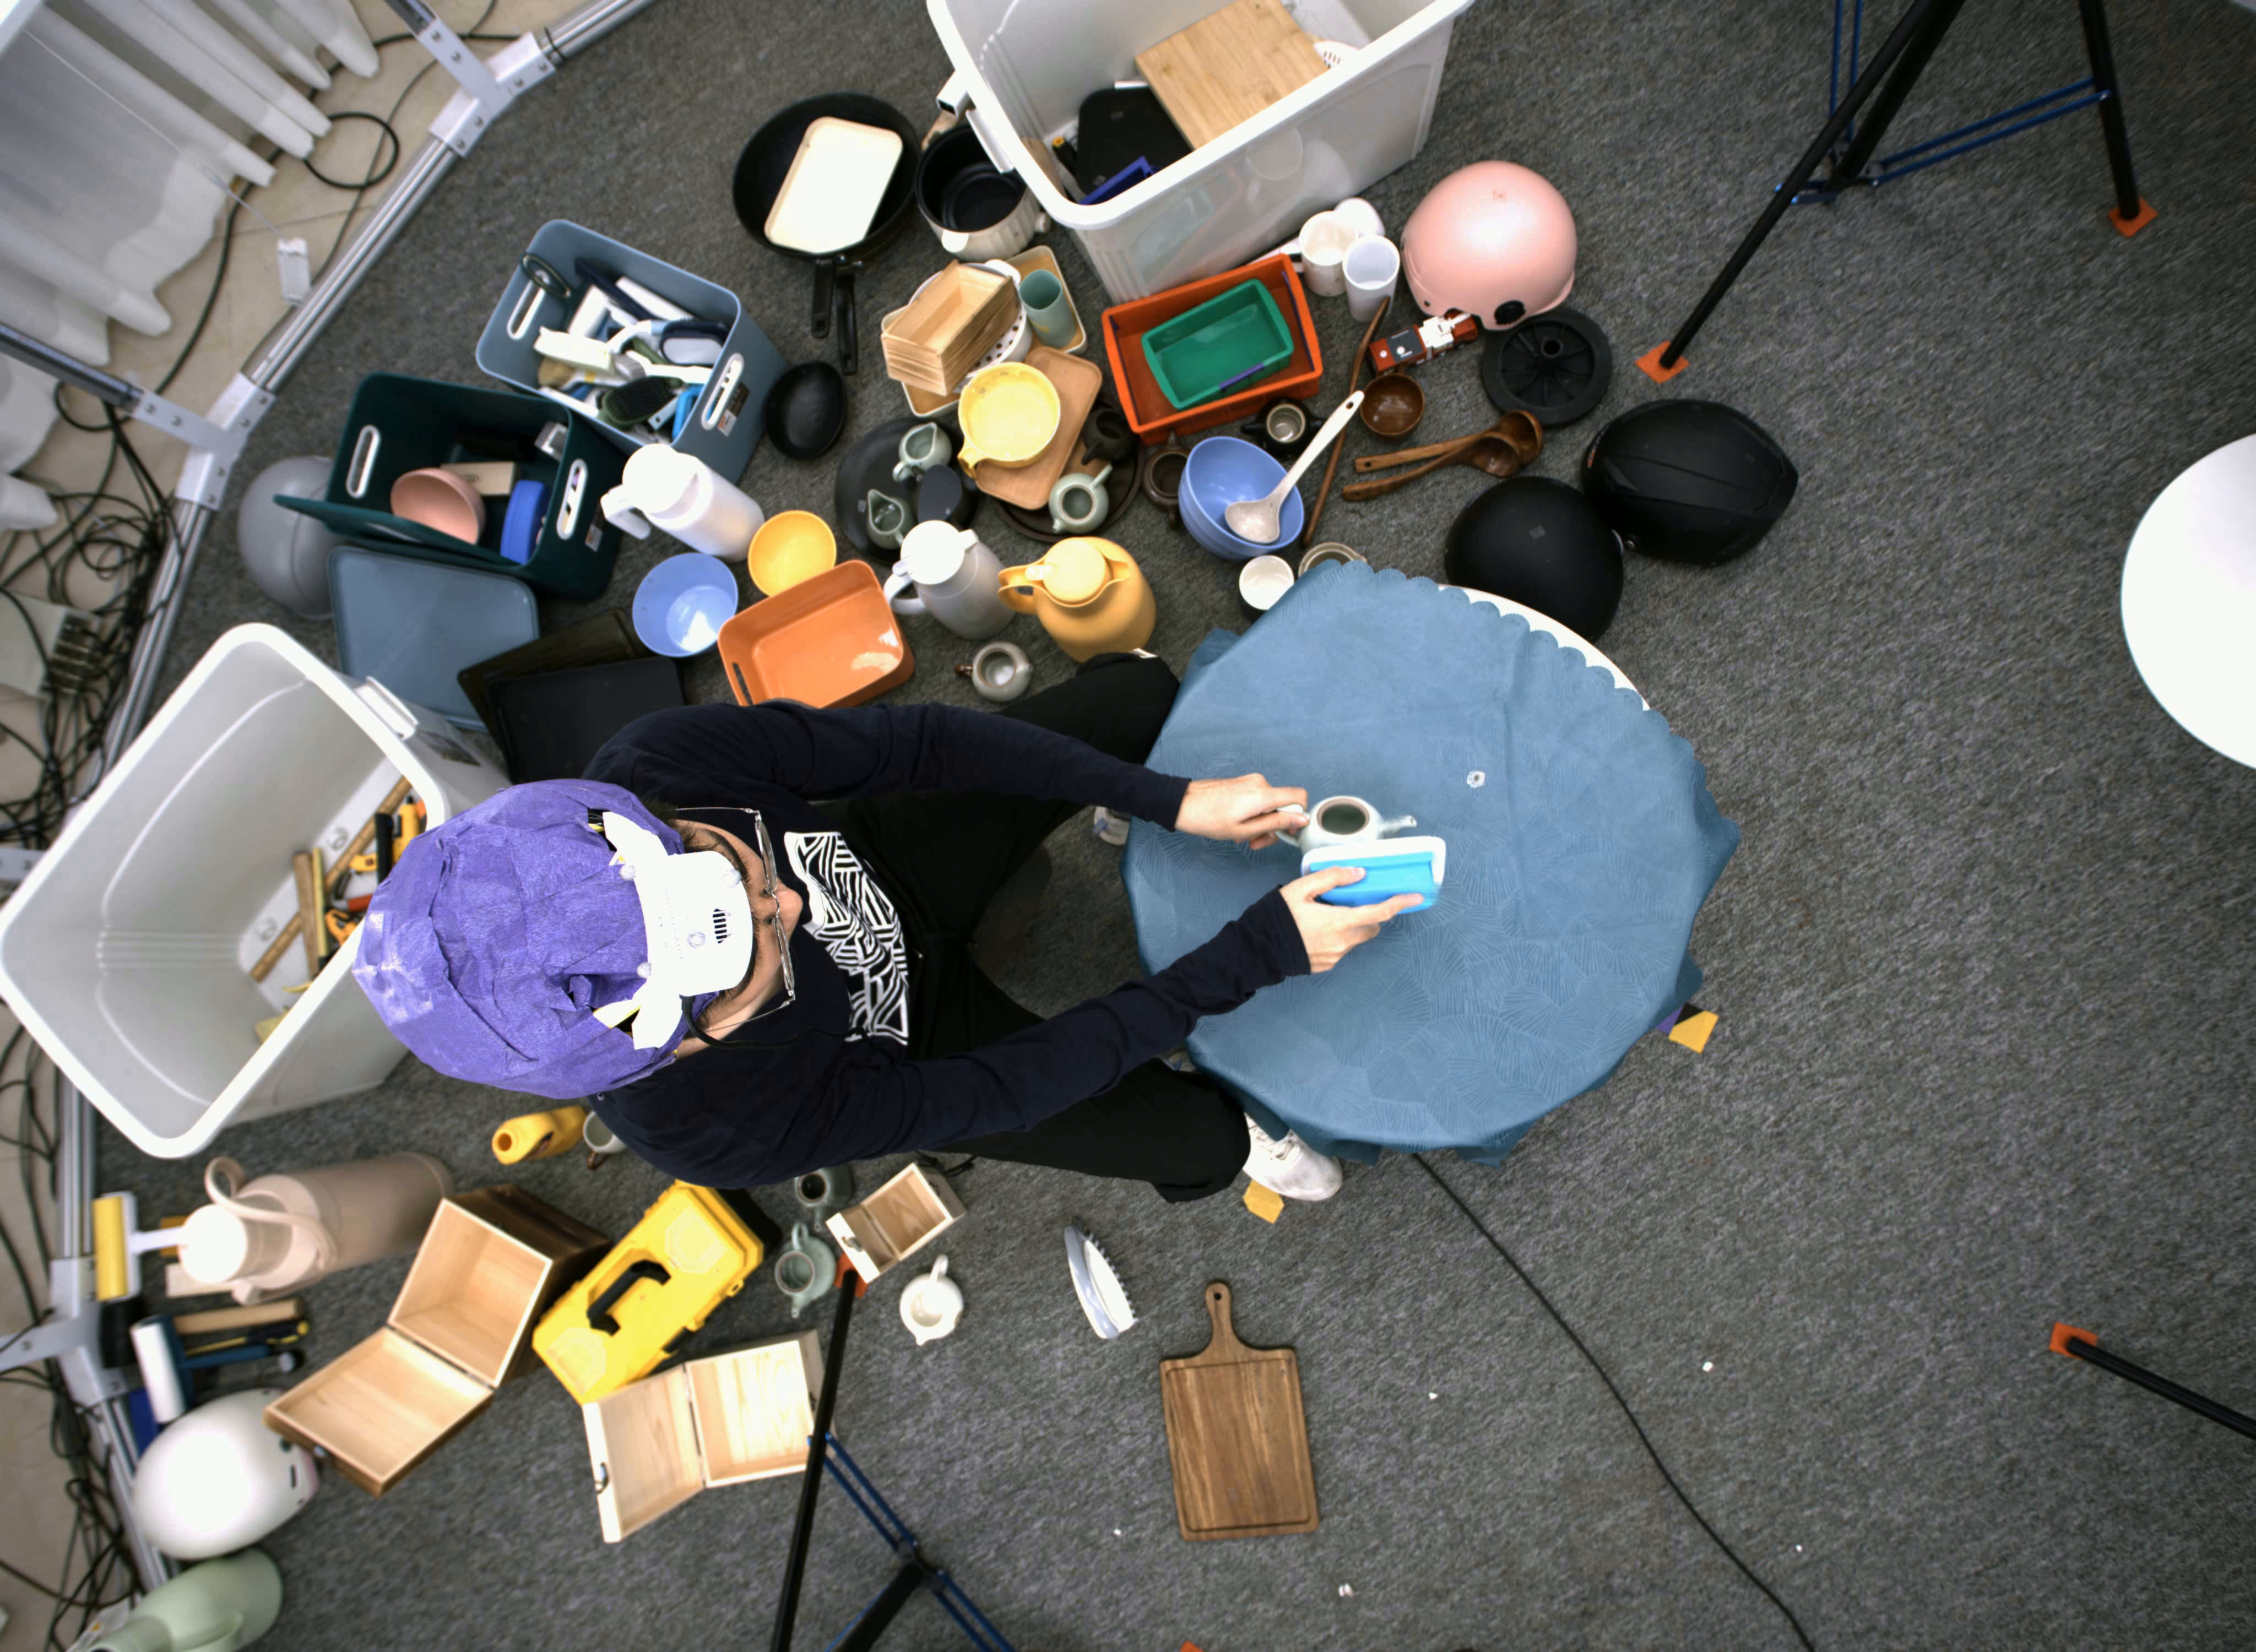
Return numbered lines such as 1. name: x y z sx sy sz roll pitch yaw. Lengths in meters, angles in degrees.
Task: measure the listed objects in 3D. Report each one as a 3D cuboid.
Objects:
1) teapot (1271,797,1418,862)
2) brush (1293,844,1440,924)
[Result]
1. teapot: 0.214 0.011 1.383 0.144 0.076 0.086 10 48 12
2. brush: 0.234 0.063 1.338 0.144 0.086 0.054 -6 44 0
